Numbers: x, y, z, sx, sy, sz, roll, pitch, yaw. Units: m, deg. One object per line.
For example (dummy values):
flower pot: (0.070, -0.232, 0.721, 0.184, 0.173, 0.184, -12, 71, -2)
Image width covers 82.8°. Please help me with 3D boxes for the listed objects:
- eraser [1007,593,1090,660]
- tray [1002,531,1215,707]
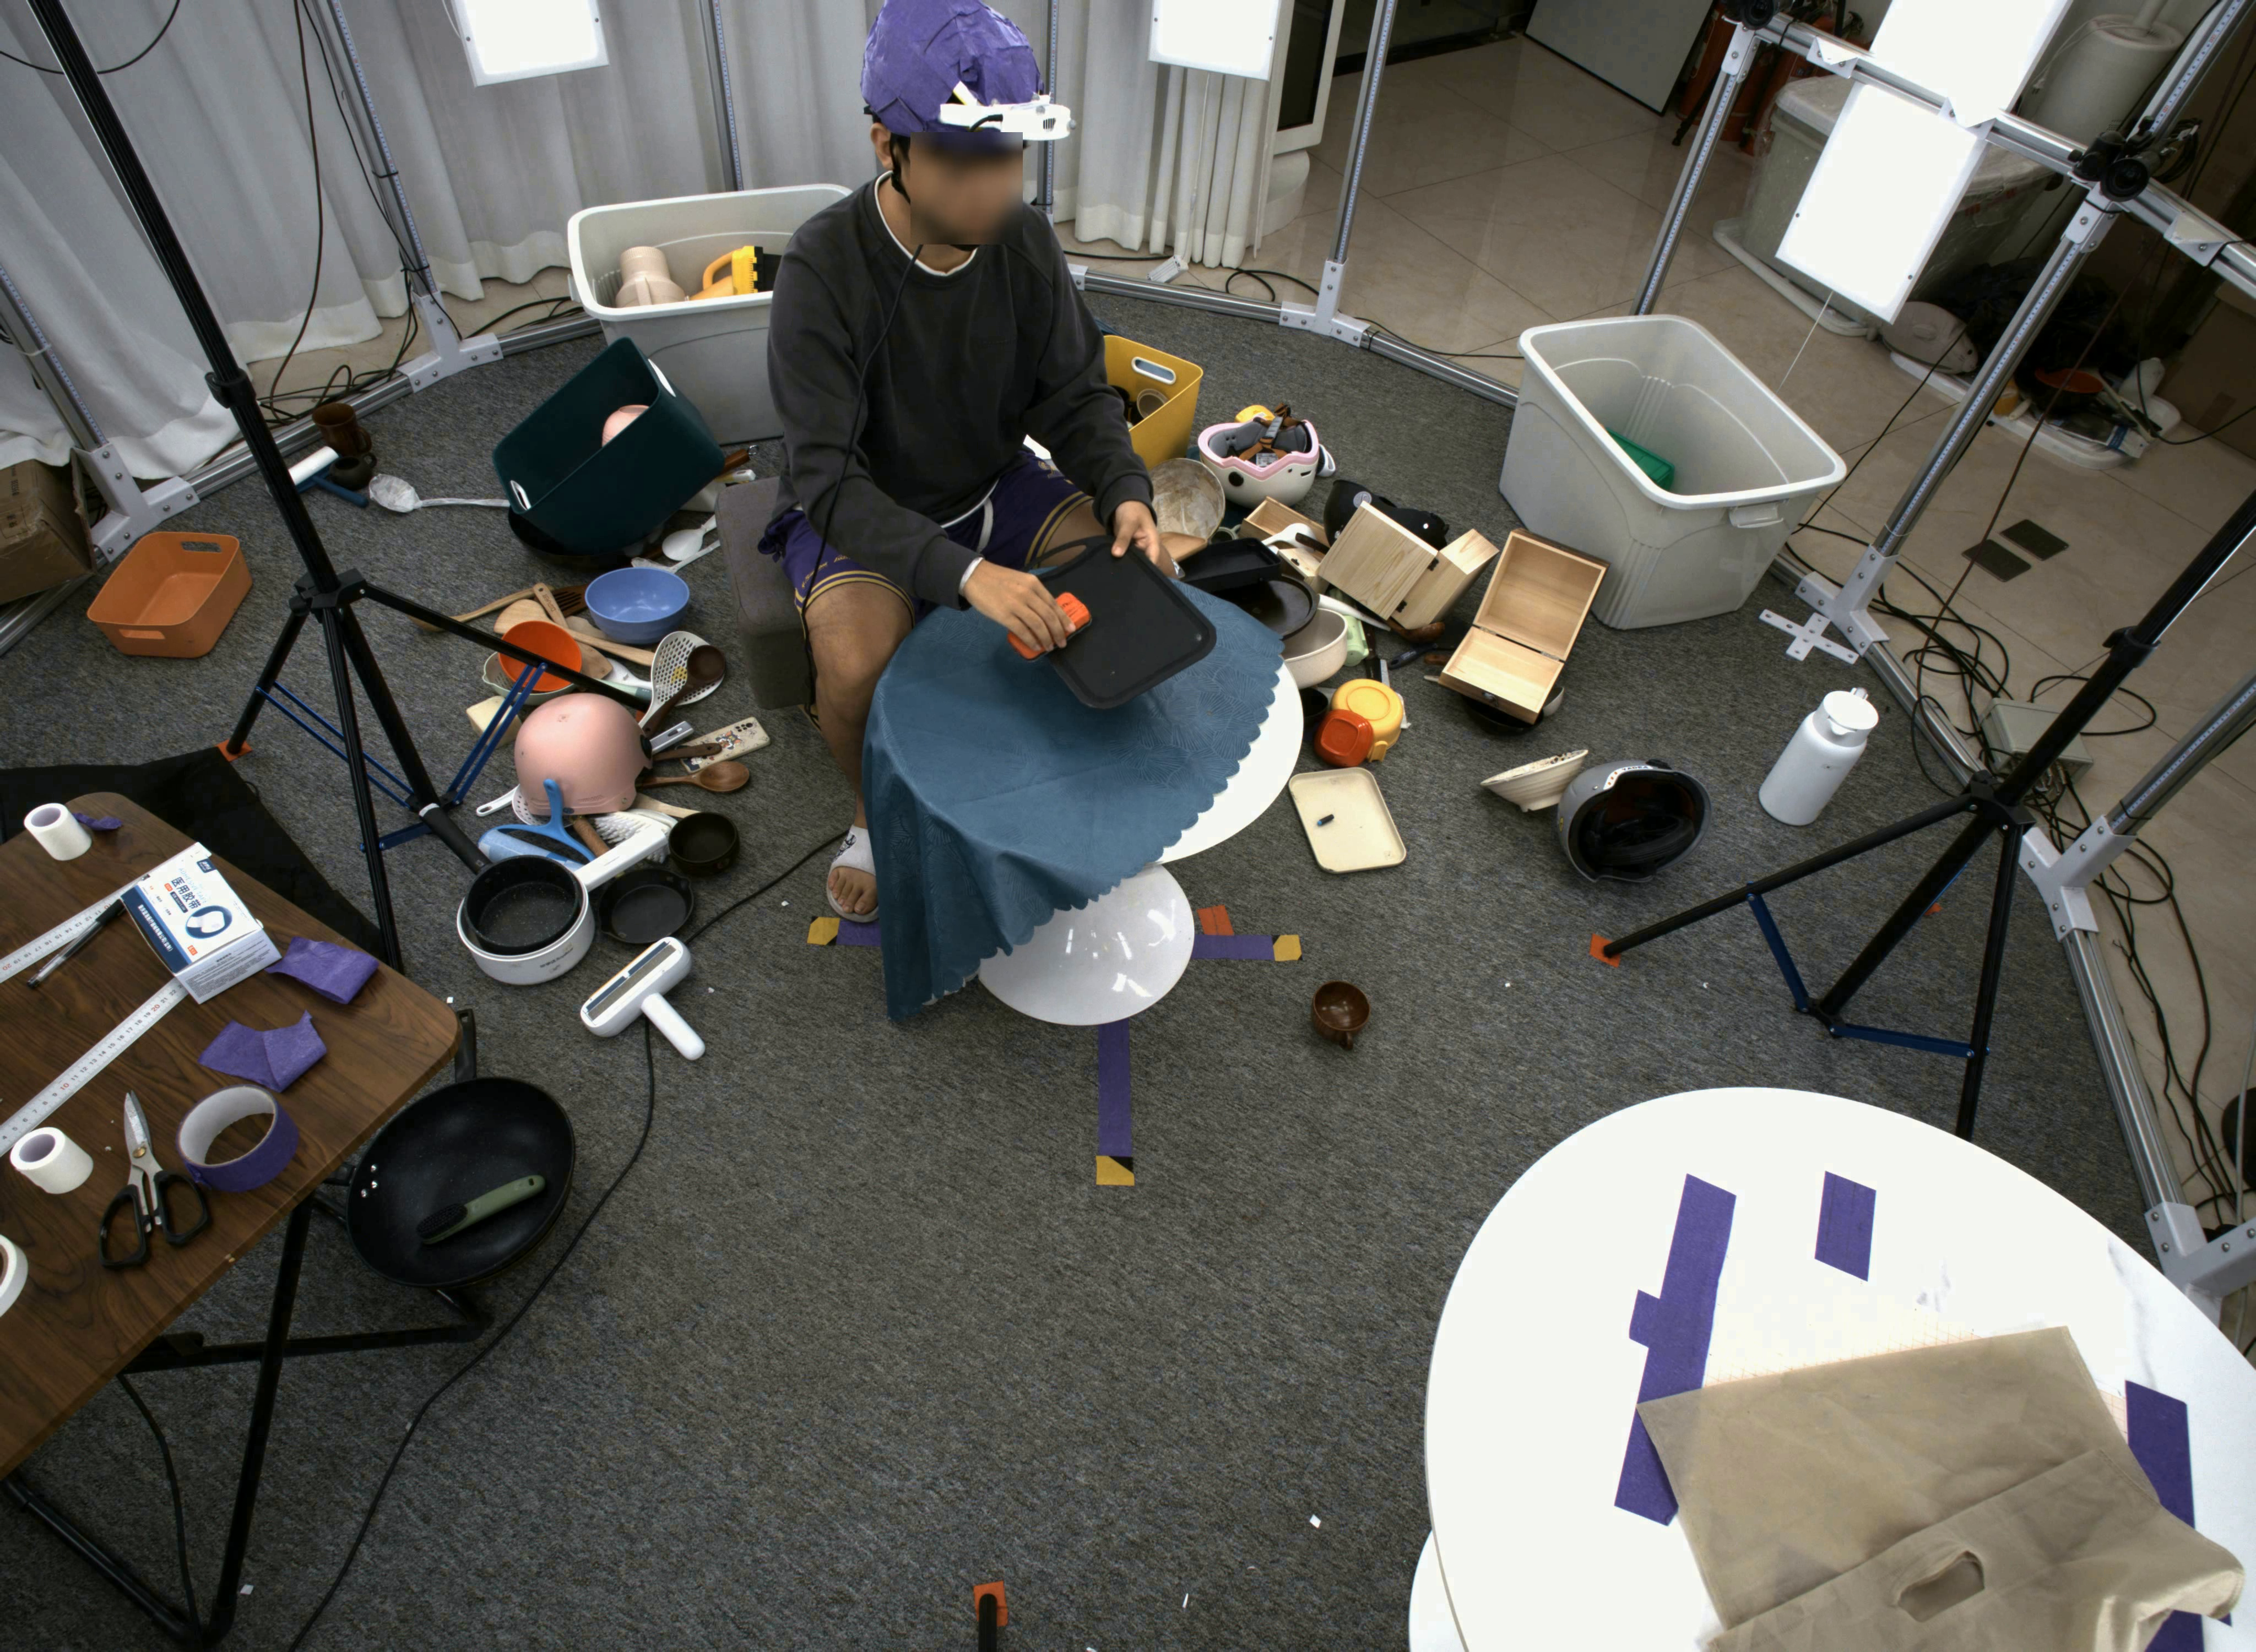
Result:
eraser: (-0.108, -0.273, 1.754, 0.108, 0.022, 0.060, -35, 54, -16)
tray: (-0.037, -0.297, 1.774, 0.211, 0.009, 0.332, -30, 52, -10)
